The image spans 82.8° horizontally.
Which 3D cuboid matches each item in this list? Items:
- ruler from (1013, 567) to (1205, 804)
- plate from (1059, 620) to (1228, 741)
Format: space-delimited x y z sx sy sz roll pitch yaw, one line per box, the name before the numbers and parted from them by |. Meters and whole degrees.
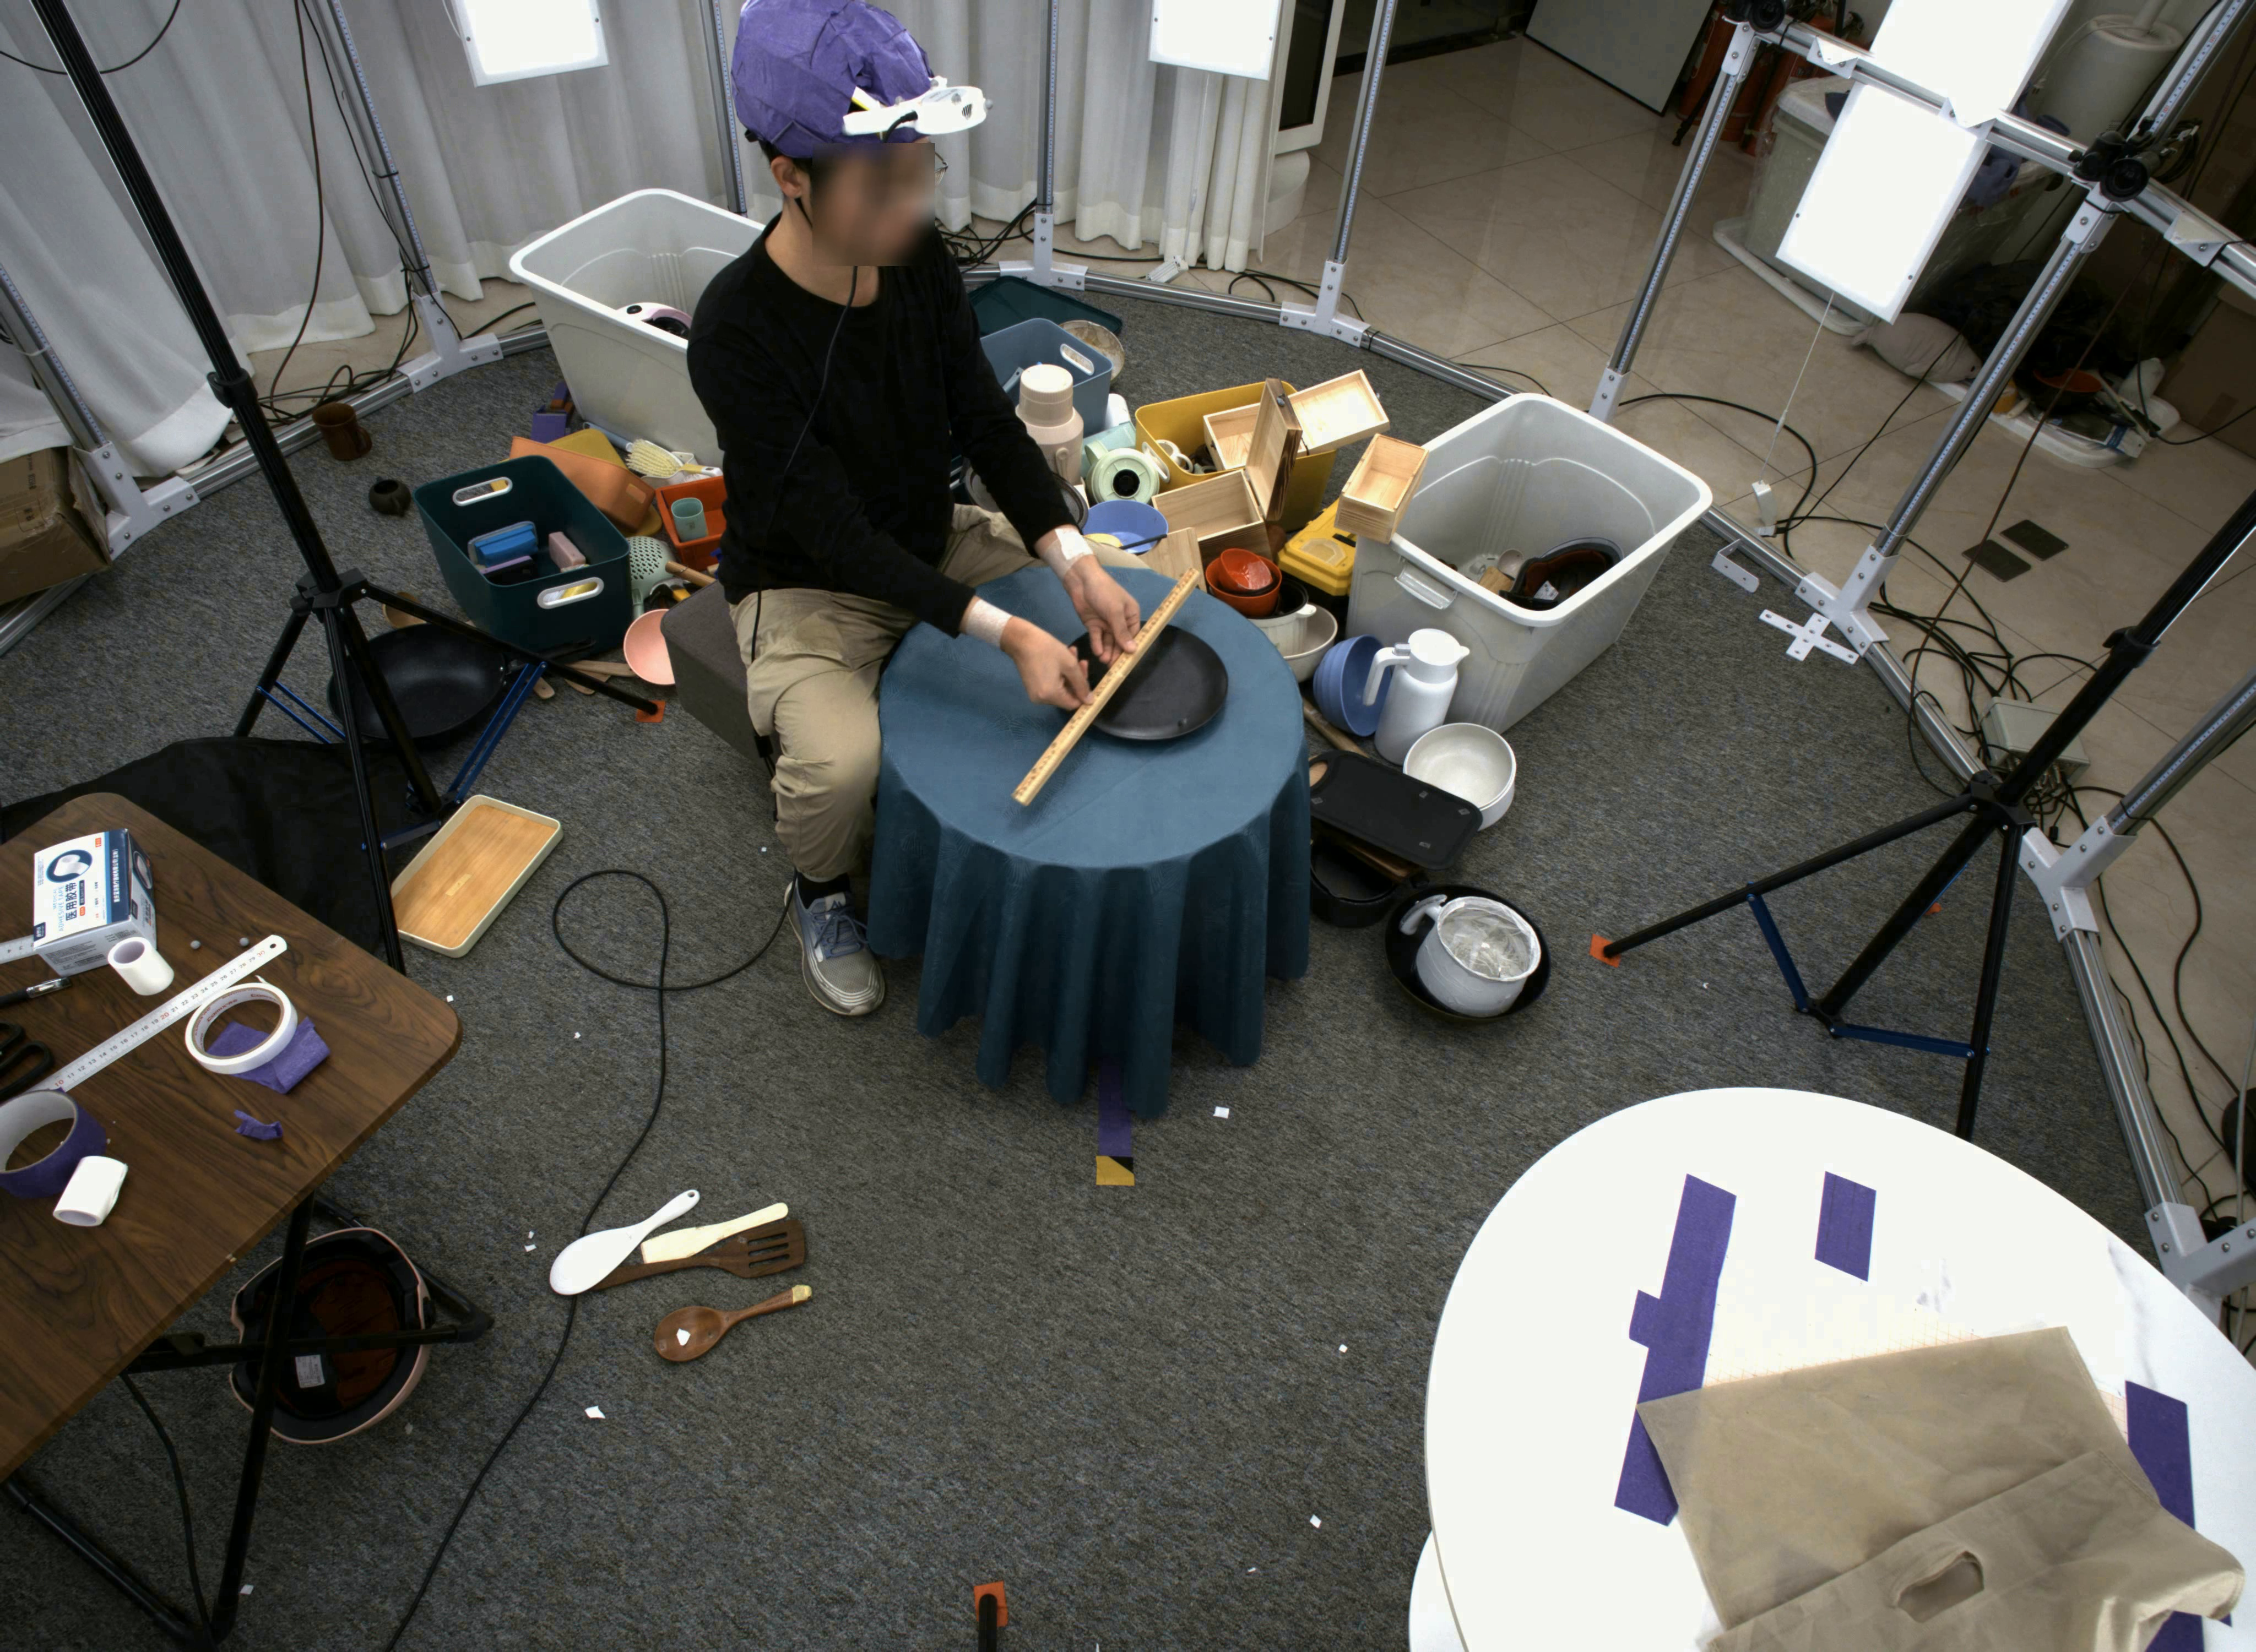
ruler | -0.018 -0.208 1.786 0.027 0.006 0.508 34 57 2
plate | 0.022 -0.206 1.835 0.244 0.023 0.250 1 49 -2
